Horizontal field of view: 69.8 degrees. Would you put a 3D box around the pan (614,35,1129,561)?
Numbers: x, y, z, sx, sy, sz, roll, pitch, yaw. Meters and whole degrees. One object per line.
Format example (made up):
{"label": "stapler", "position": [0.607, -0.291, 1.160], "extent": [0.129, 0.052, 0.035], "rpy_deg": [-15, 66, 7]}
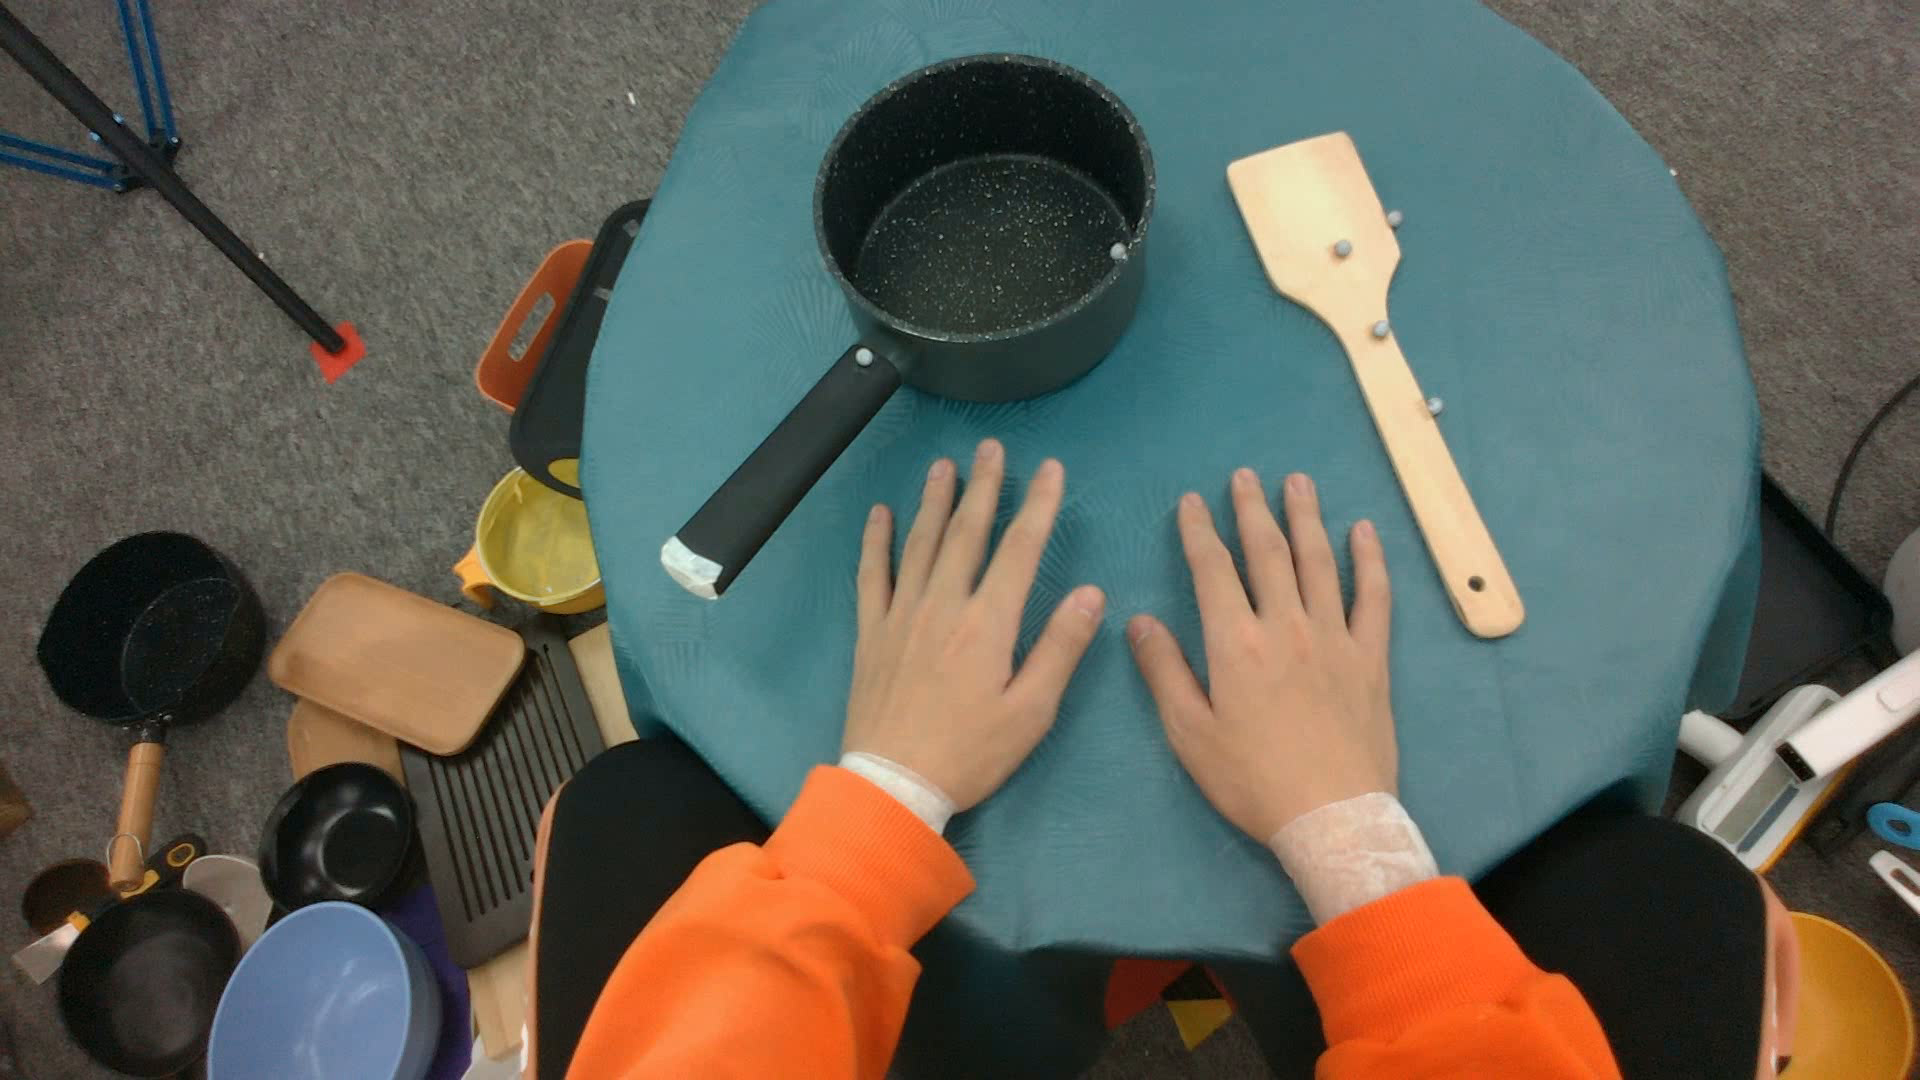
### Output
{"label": "pan", "position": [-0.045, -0.109, 0.692], "extent": [0.172, 0.086, 0.329], "rpy_deg": [32, 72, 18]}

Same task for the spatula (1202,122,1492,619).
{"label": "spatula", "position": [0.202, -0.093, 0.700], "extent": [0.072, 0.010, 0.294], "rpy_deg": [-14, 66, -4]}
